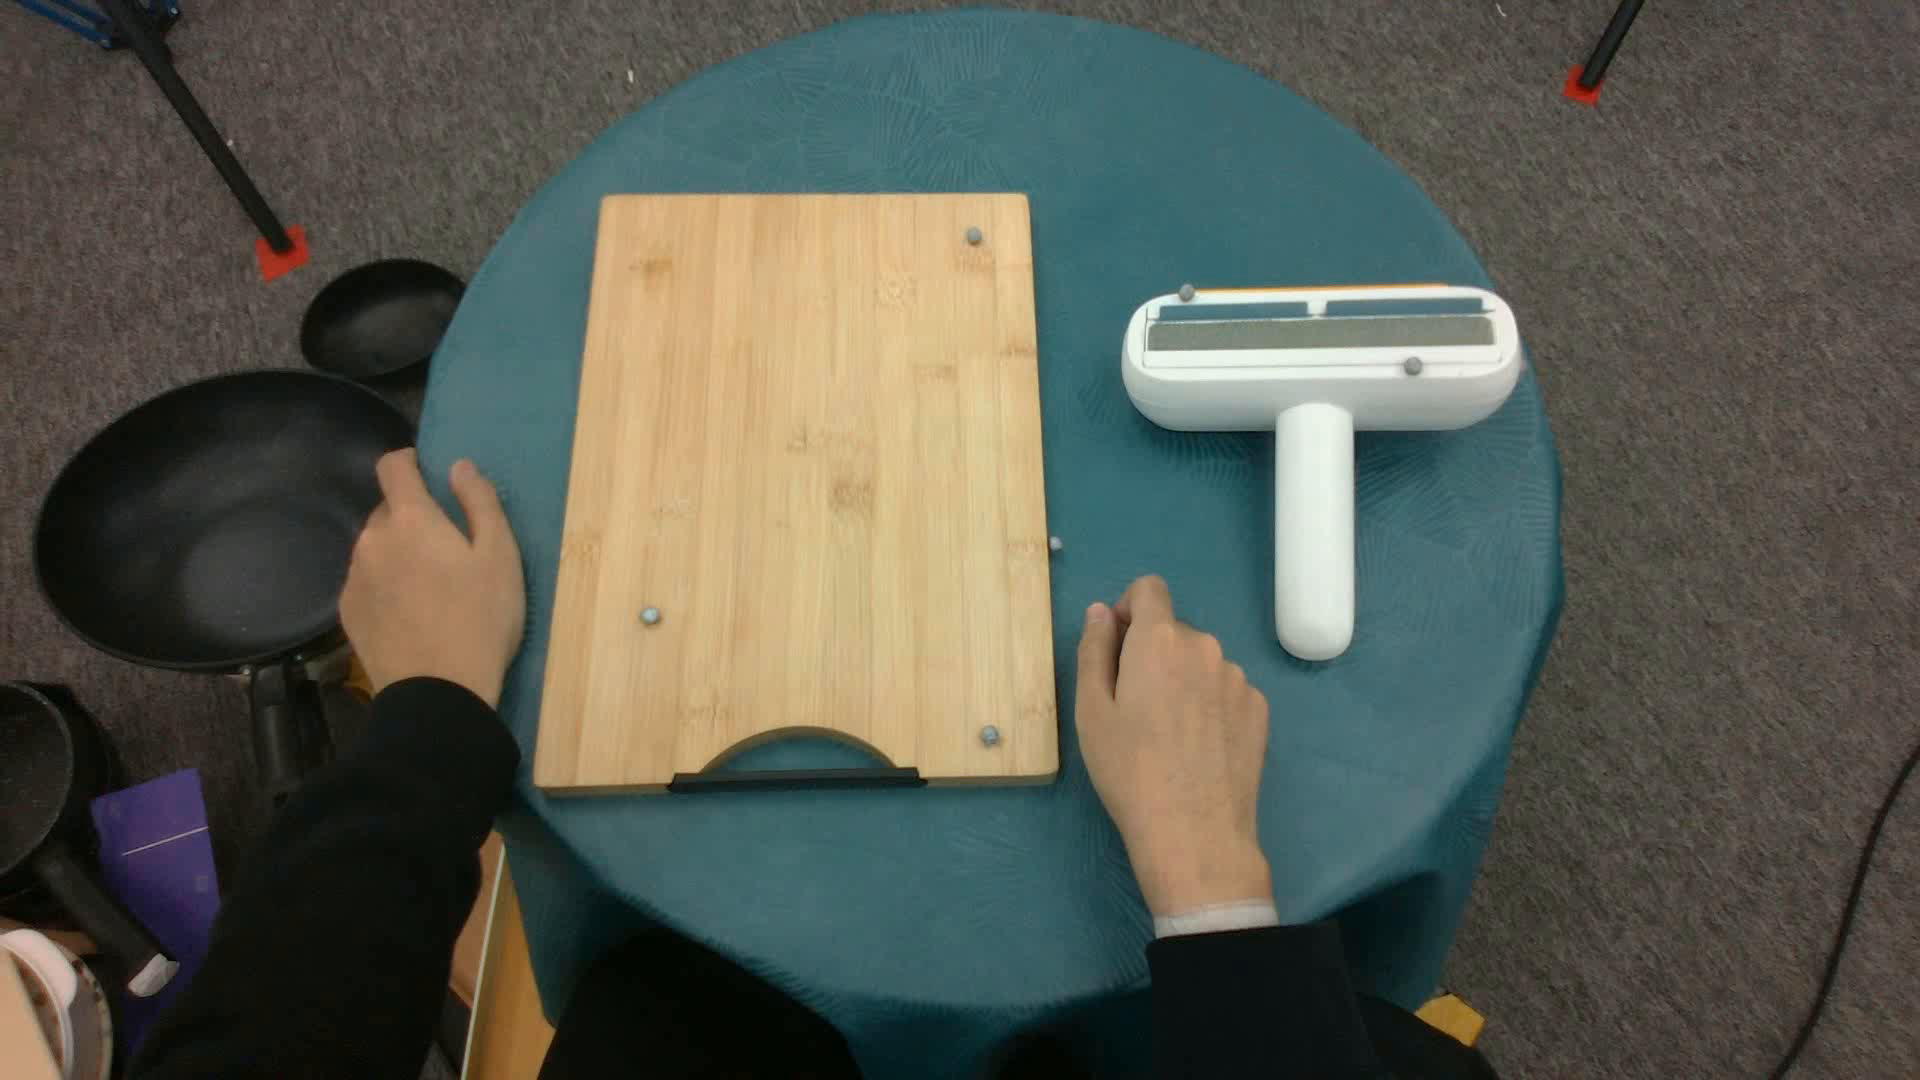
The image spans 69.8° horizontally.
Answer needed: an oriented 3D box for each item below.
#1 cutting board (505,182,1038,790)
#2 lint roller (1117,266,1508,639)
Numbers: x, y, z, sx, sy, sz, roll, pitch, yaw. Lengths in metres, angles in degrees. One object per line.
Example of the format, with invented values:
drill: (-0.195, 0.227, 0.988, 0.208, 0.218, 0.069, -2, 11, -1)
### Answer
cutting board: (-0.088, -0.044, 0.708, 0.251, 0.023, 0.350, -2, 64, -2)
lint roller: (0.169, -0.047, 0.687, 0.193, 0.074, 0.193, 6, 65, 8)
